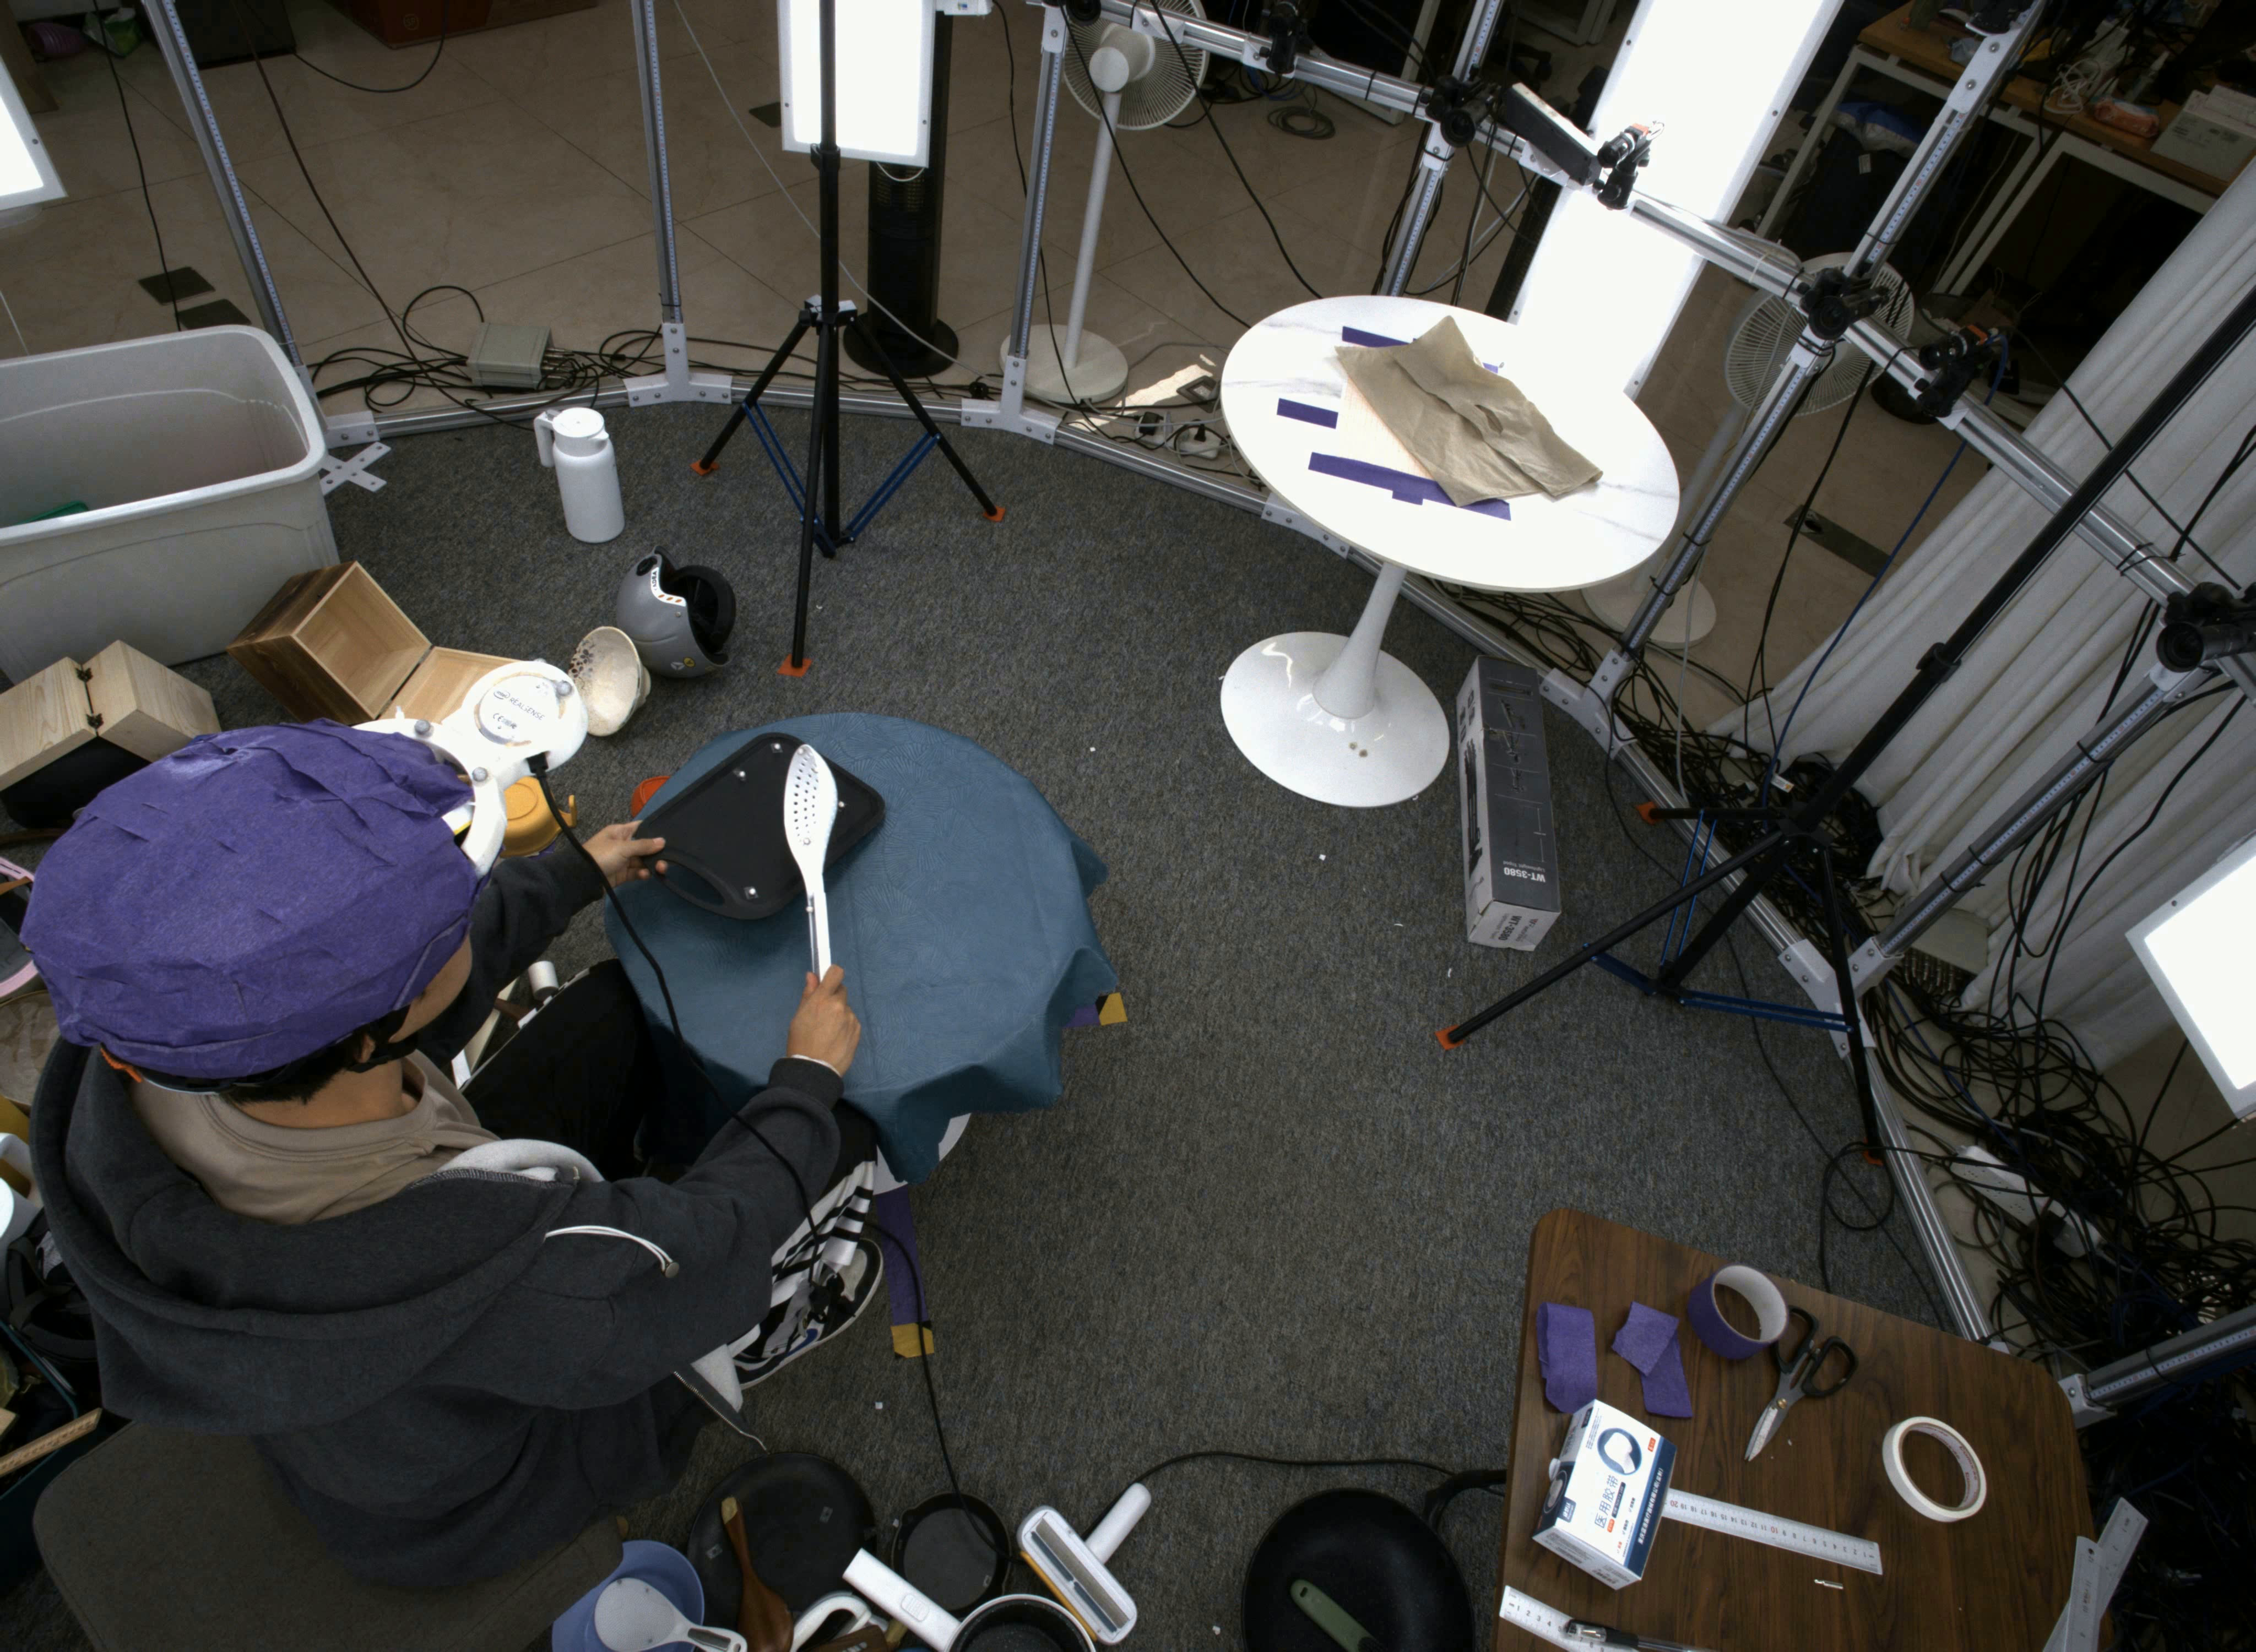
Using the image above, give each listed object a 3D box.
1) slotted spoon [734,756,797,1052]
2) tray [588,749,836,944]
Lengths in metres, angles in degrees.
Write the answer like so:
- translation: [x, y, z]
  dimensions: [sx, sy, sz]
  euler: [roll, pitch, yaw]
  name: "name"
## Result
- translation: [-0.417, 0.085, 1.500]
  dimensions: [0.046, 0.135, 0.346]
  euler: [4, 66, -31]
  name: "slotted spoon"
- translation: [-0.524, 0.020, 1.625]
  dimensions: [0.209, 0.010, 0.323]
  euler: [32, 41, 3]
  name: "tray"
